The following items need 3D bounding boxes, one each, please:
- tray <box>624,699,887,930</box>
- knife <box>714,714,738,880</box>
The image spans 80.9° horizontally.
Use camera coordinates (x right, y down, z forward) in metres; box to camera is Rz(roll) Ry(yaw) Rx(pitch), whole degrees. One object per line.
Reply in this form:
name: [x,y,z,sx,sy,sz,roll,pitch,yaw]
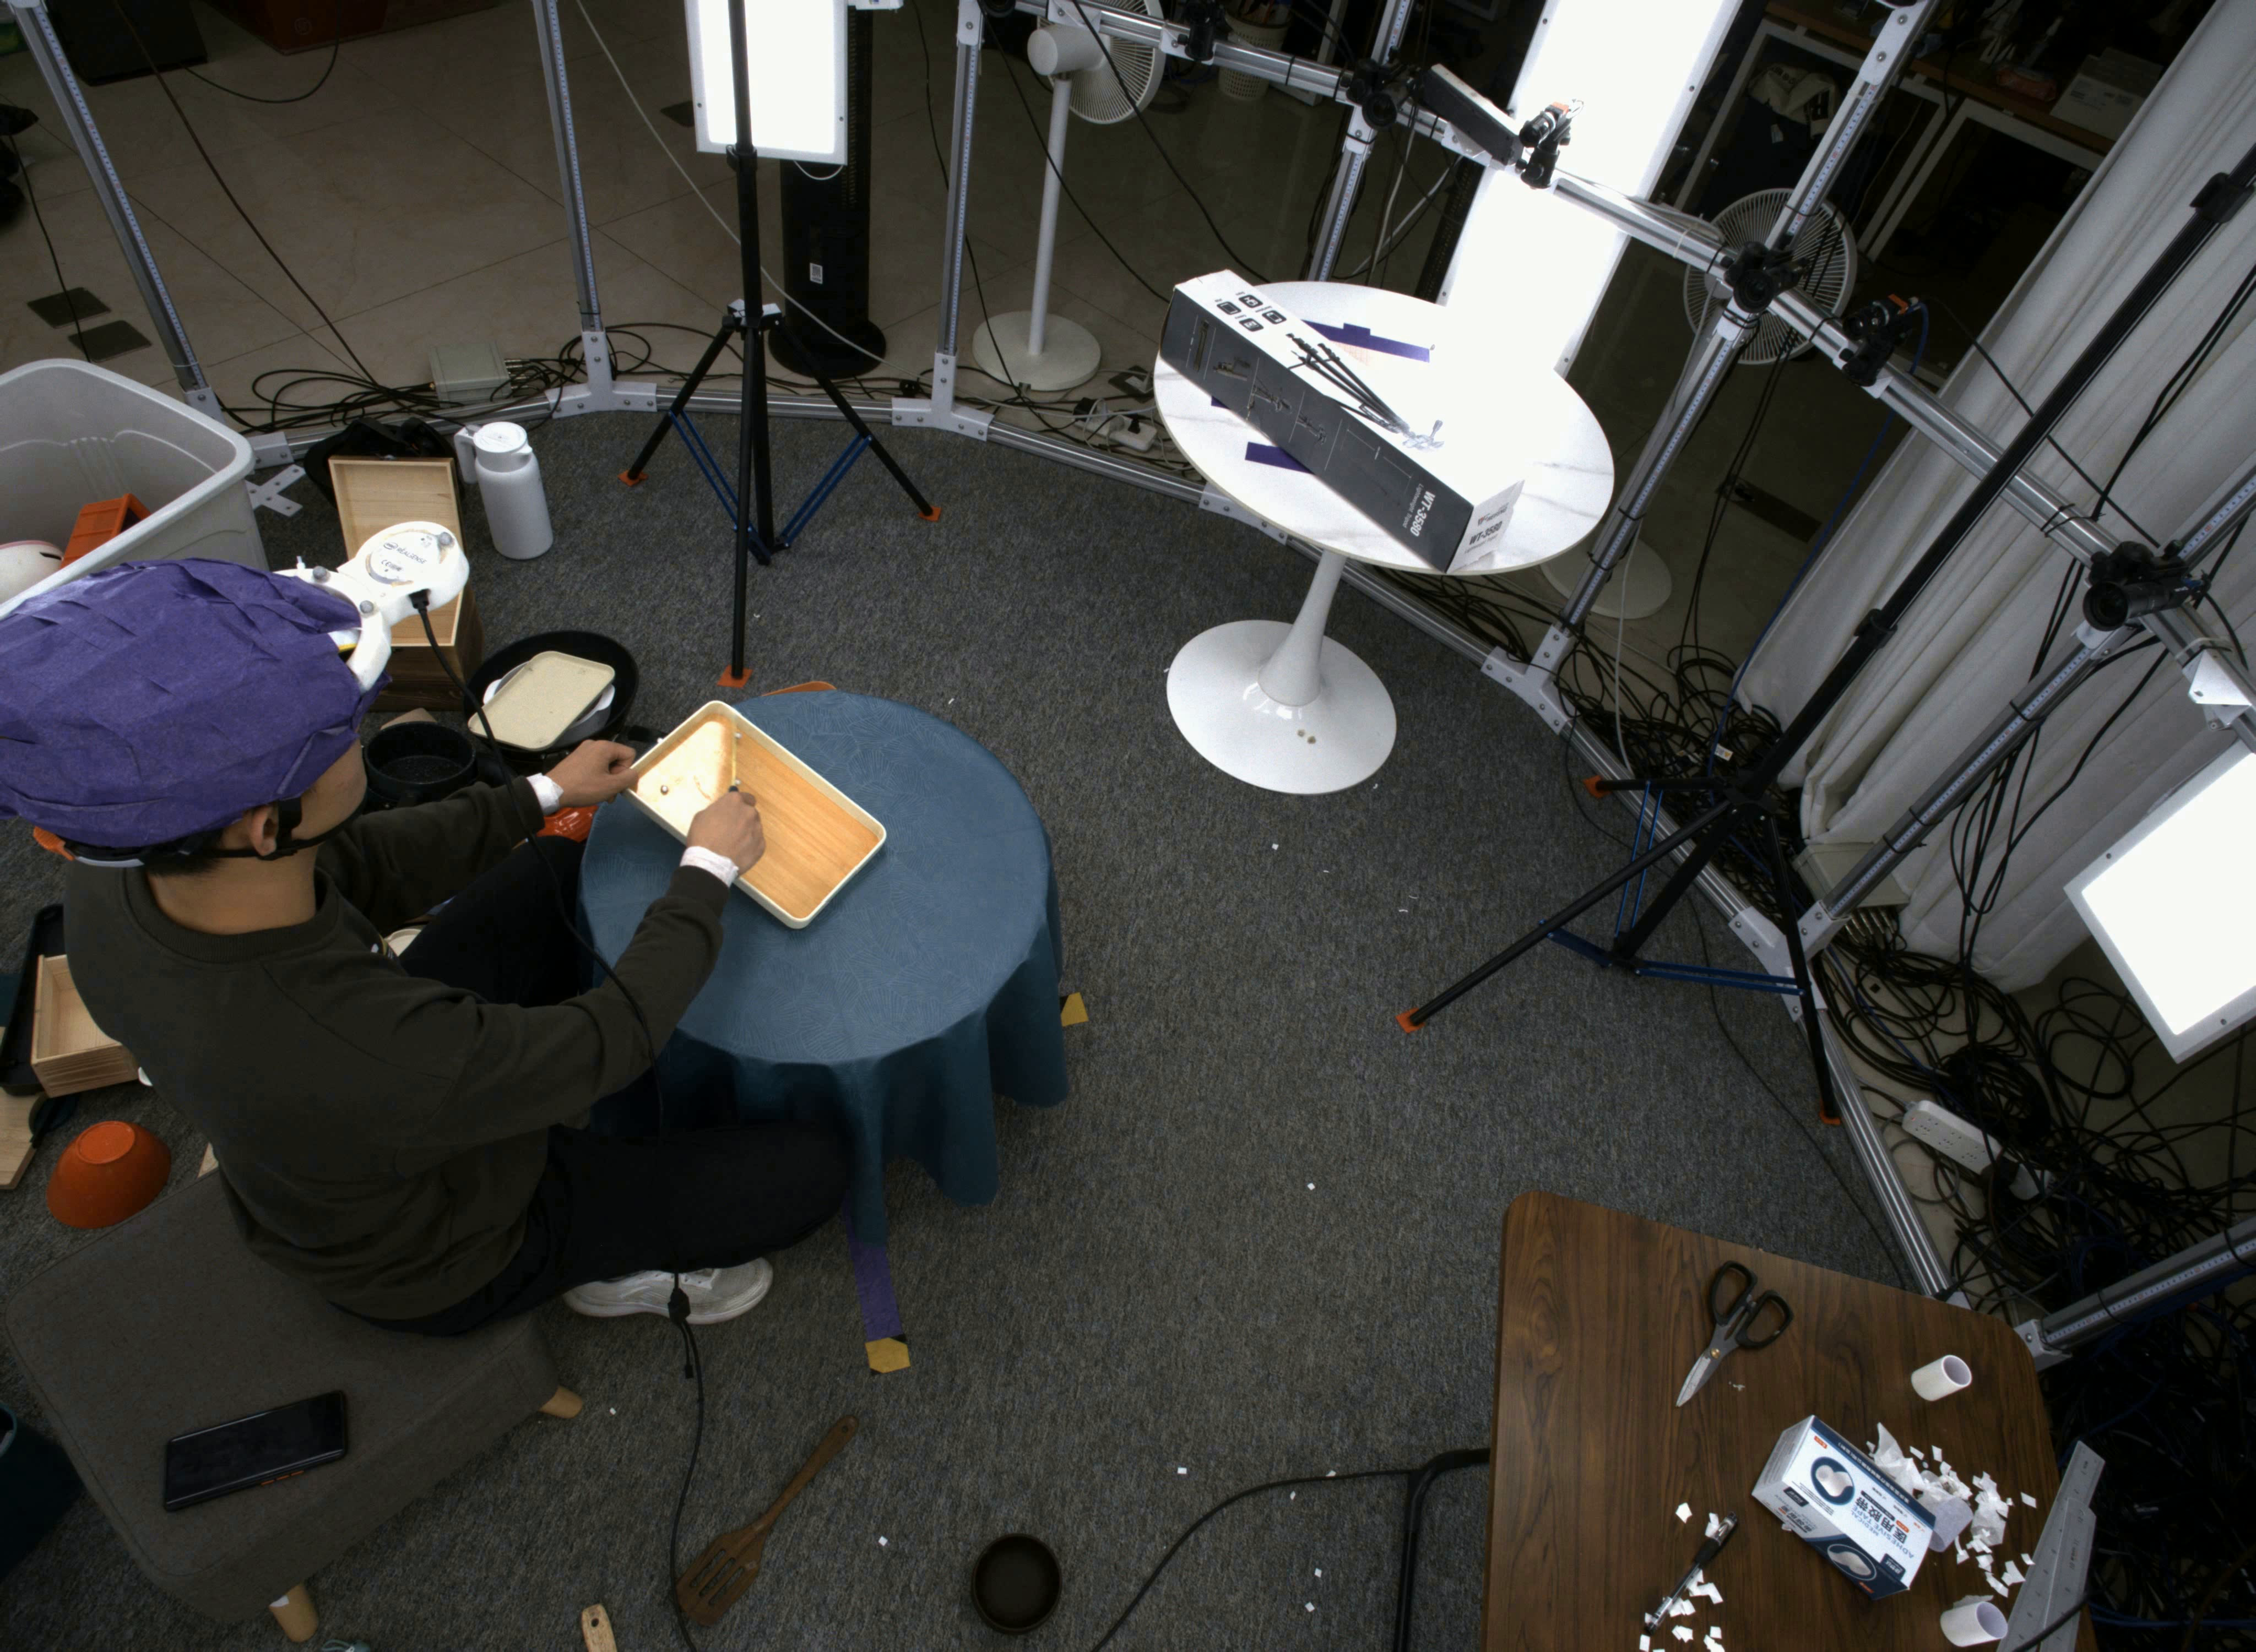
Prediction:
tray: [-0.481,-0.019,1.674,0.300,0.027,0.191,38,53,-2]
knife: [-0.499,-0.037,1.613,0.027,0.083,0.282,0,46,-15]
